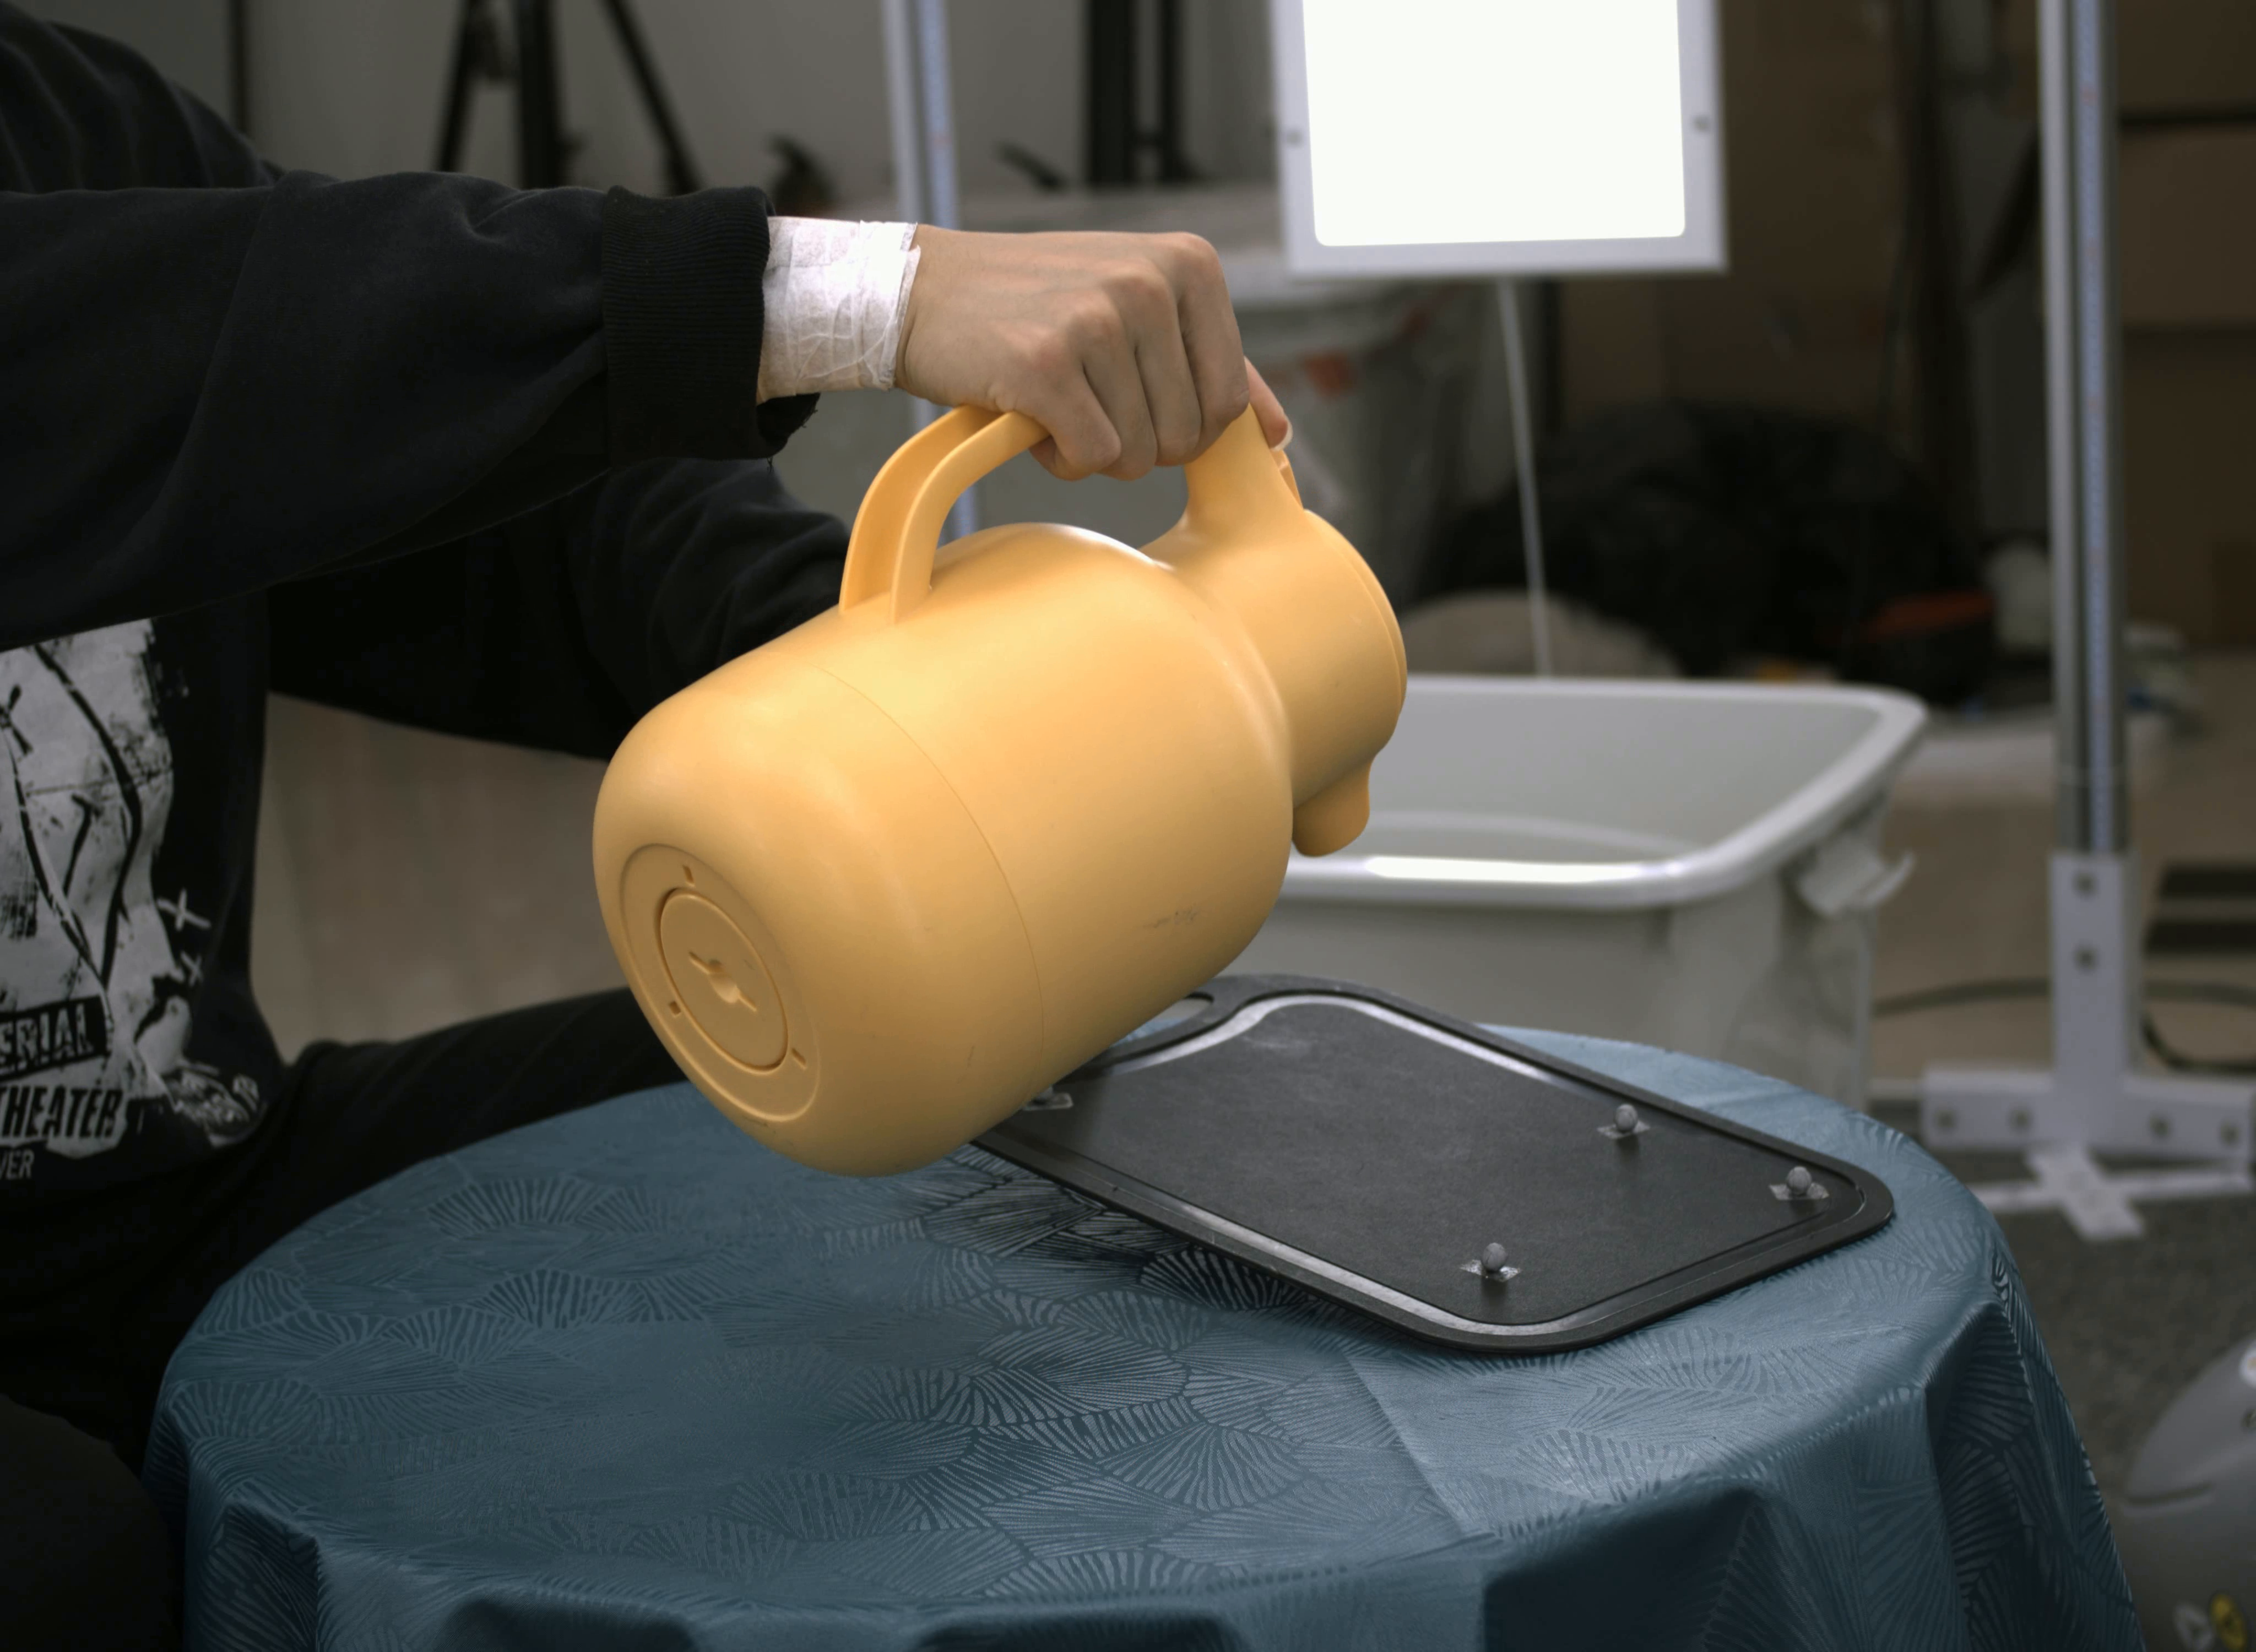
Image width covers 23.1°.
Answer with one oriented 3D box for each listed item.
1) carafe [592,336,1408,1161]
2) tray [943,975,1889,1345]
[{"bbox_3d":[-0.036,-0.032,1.707,0.255,0.202,0.167,-30,24,-32],"label":"carafe"},{"bbox_3d":[0.085,0.105,1.860,0.206,0.010,0.332,-15,24,-38],"label":"tray"}]
